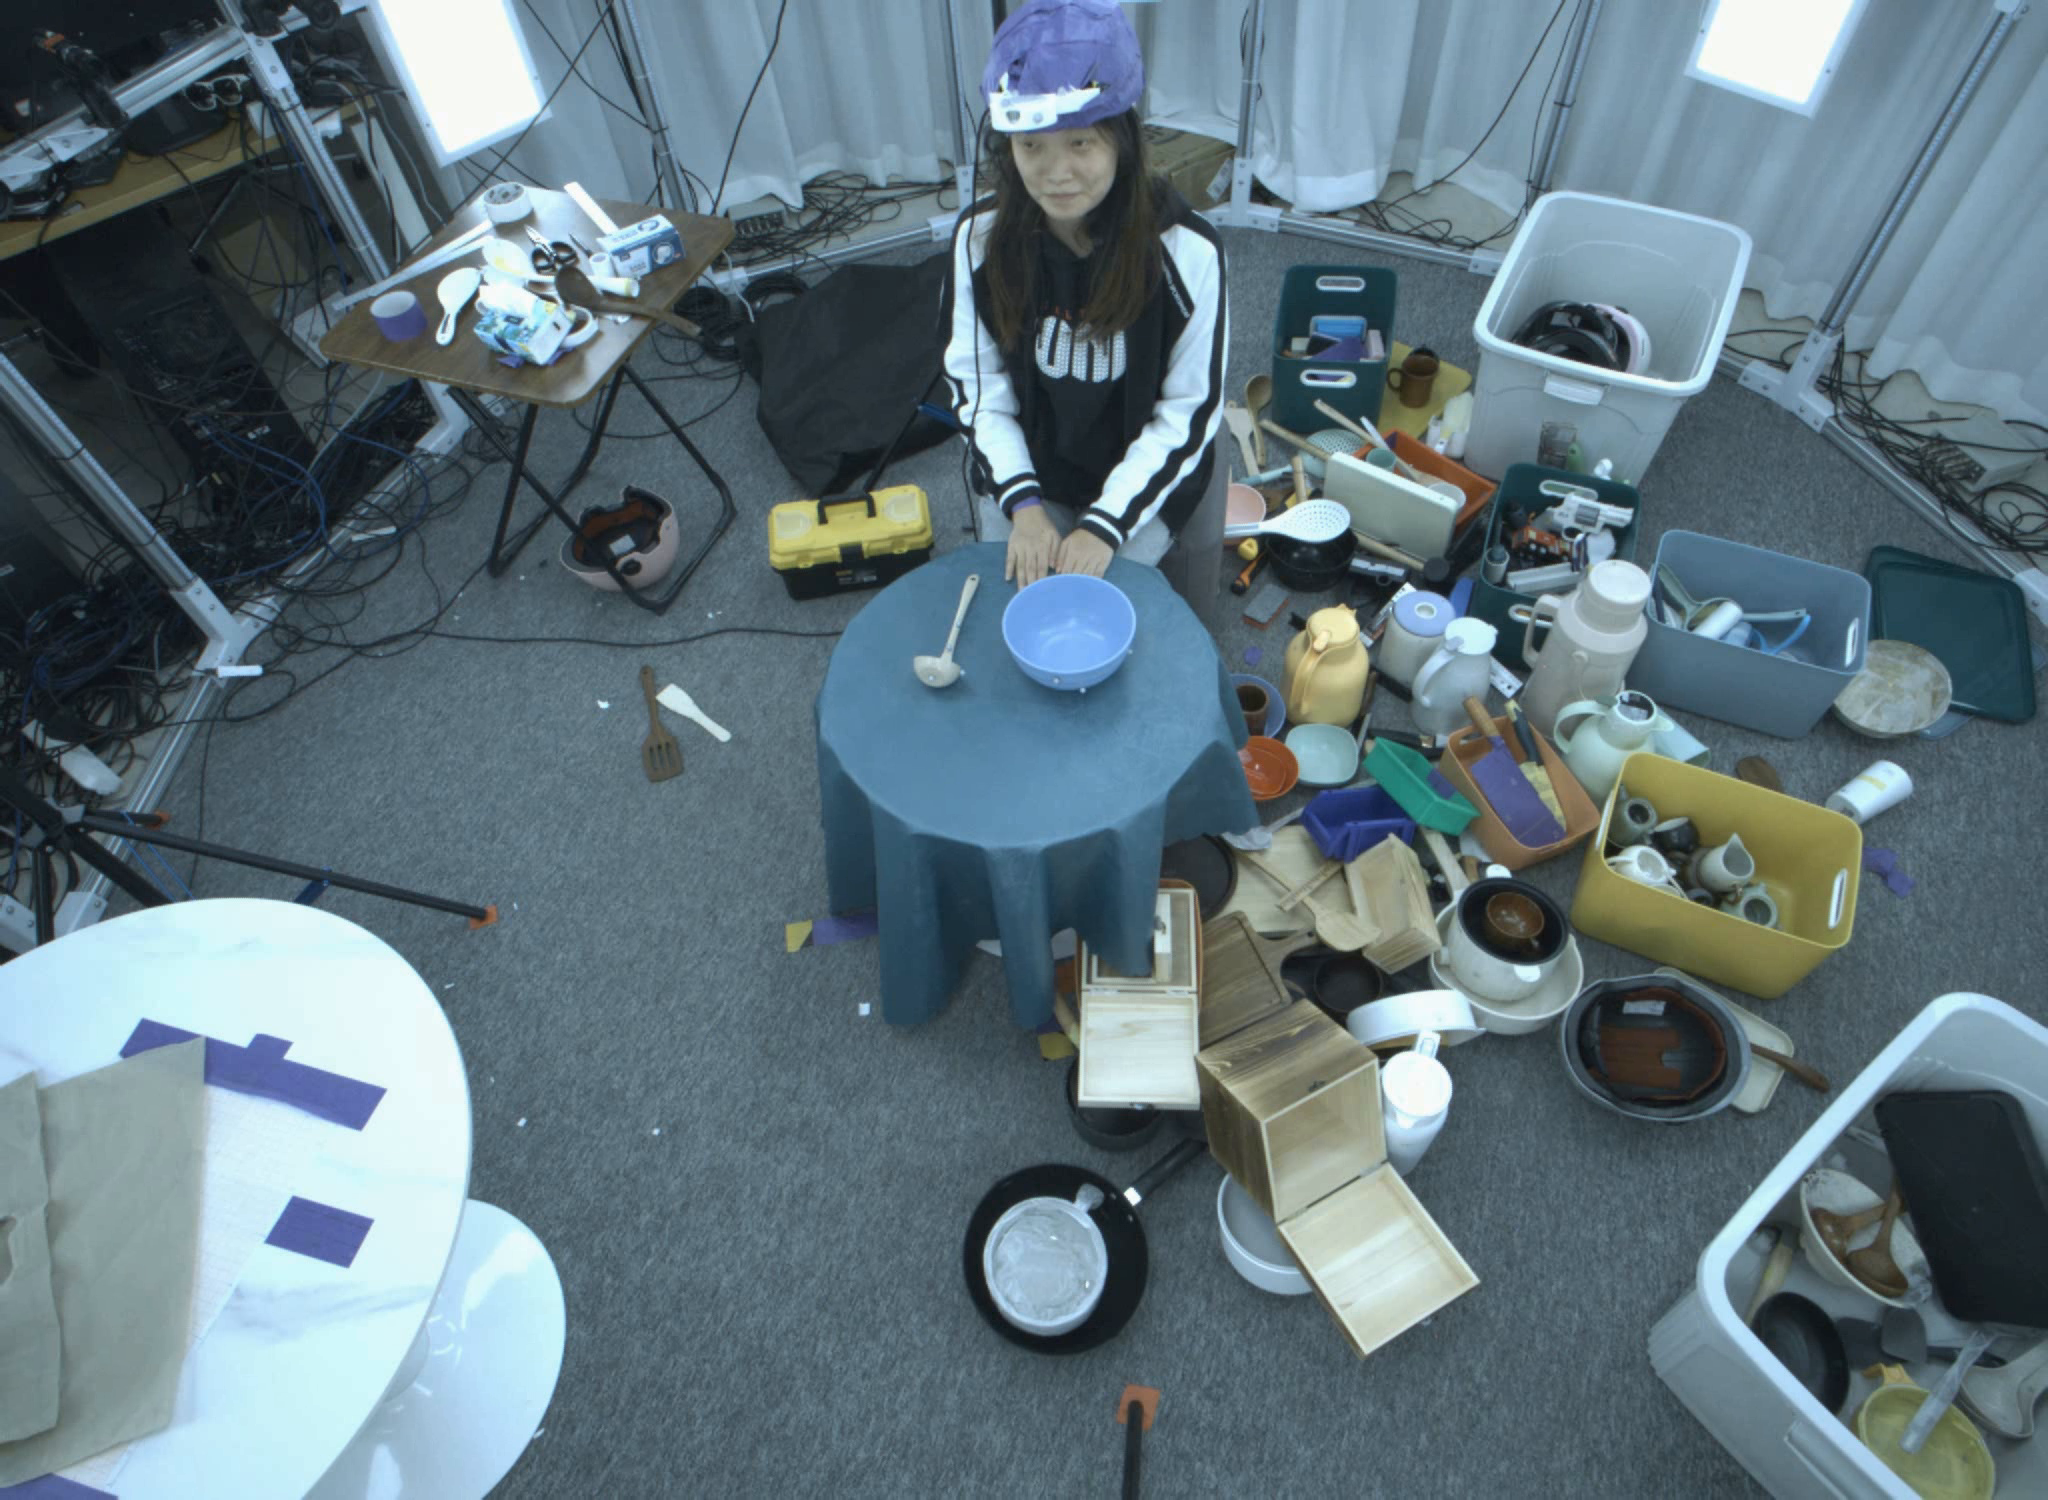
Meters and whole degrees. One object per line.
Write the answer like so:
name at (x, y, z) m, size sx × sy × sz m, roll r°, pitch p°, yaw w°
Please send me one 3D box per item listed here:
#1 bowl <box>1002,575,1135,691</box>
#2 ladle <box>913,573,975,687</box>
bowl at (0.069, -0.160, 1.844) m, size 0.196 × 0.096 × 0.194 m, roll -1°, pitch 54°, yaw 3°
ladle at (-0.112, -0.206, 1.892) m, size 0.072 × 0.073 × 0.253 m, roll 8°, pitch 55°, yaw 8°
